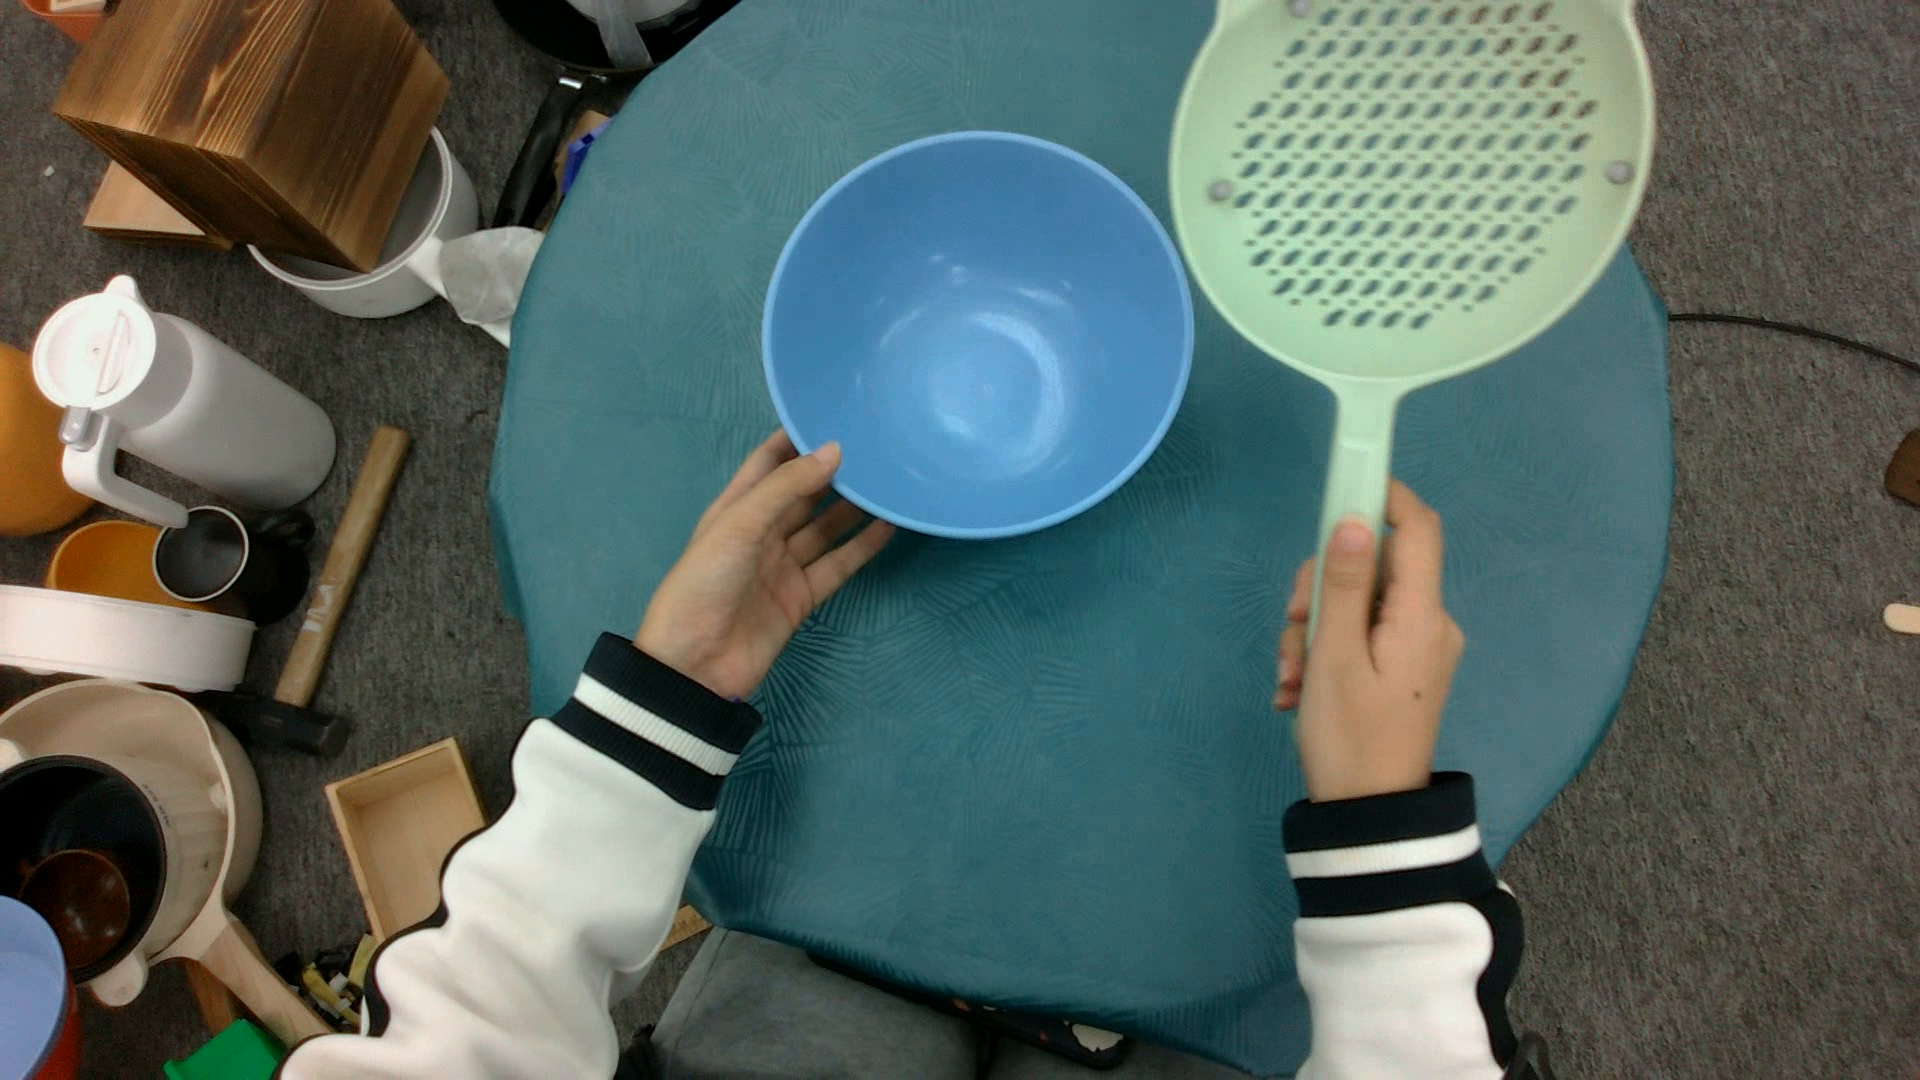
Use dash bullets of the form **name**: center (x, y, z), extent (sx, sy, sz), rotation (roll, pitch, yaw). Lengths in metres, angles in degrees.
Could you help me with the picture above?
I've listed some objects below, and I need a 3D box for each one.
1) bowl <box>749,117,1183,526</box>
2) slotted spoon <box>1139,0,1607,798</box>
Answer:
- **bowl**: center (0.004, -0.092, 0.666), extent (0.196, 0.095, 0.197), rotation (0, 76, 1)
- **slotted spoon**: center (0.153, -0.059, 0.553), extent (0.169, 0.075, 0.358), rotation (6, 98, 18)
